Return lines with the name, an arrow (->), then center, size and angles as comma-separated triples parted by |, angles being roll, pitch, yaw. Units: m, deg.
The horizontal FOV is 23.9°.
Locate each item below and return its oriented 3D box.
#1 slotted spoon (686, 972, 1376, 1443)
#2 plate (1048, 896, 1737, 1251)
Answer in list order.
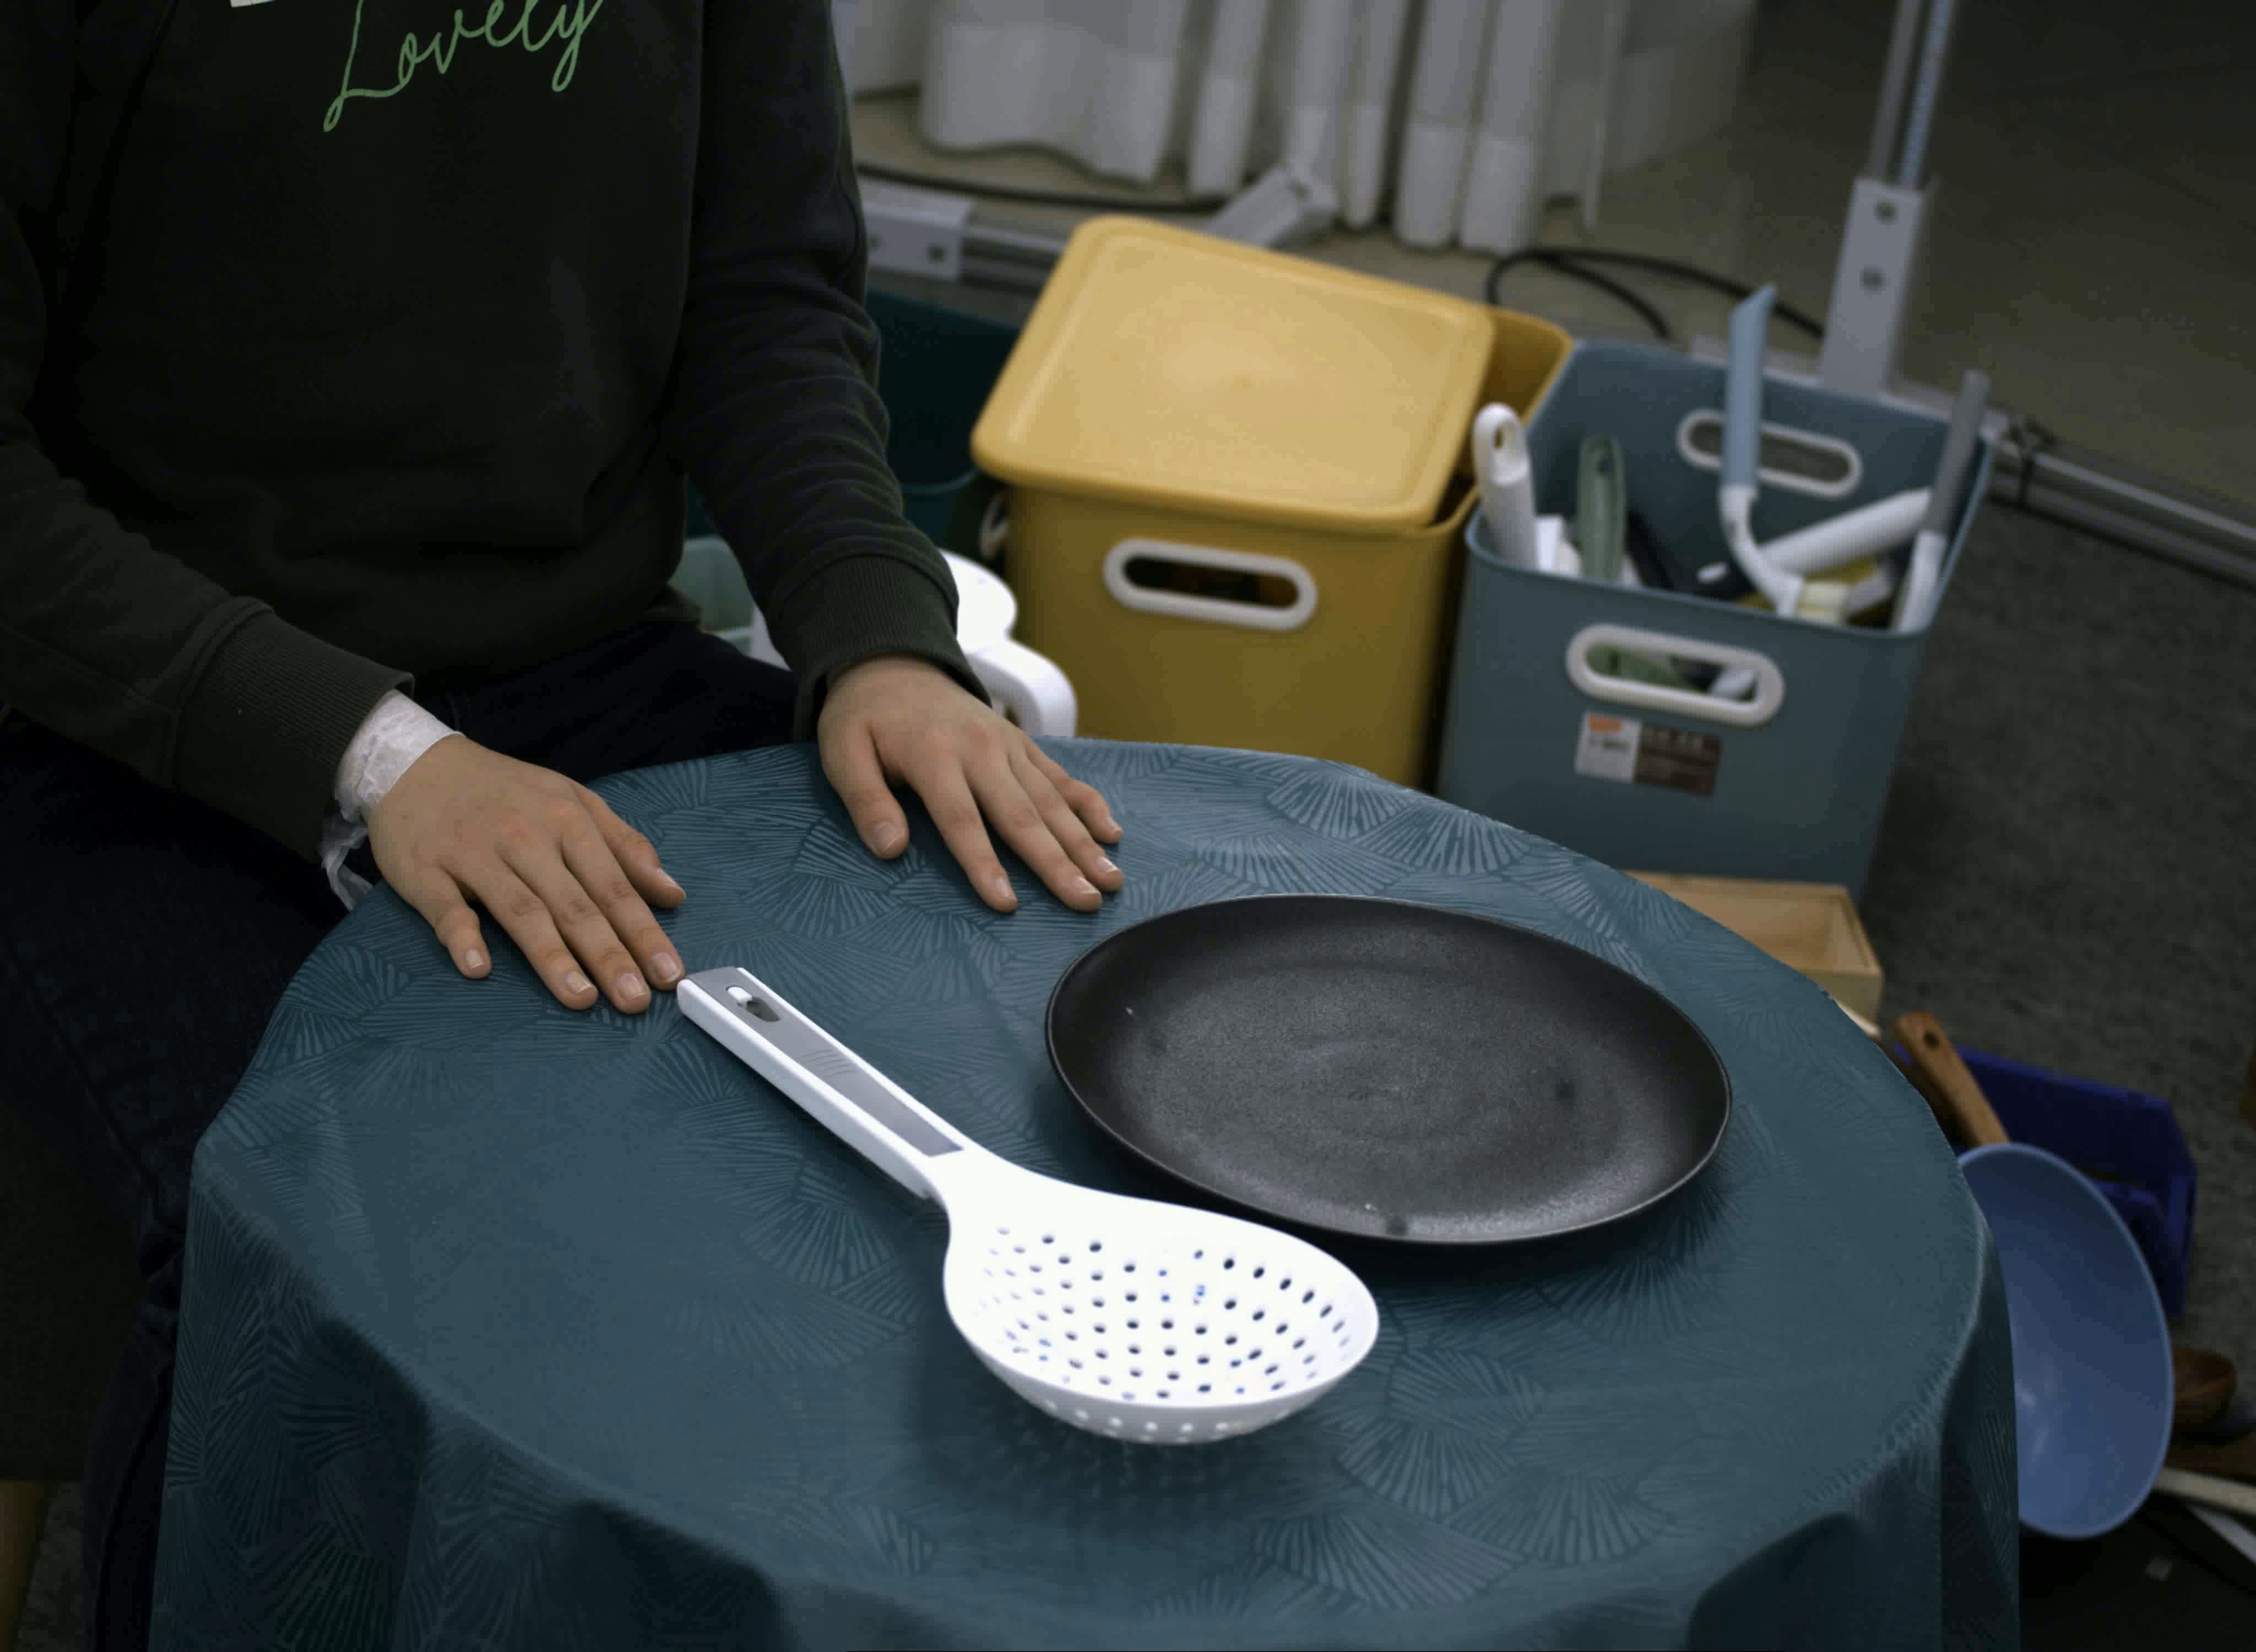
slotted spoon -> -0.051, 0.119, 1.748 | 0.135, 0.045, 0.353 | -9, 30, -33
plate -> 0.091, 0.090, 1.861 | 0.243, 0.023, 0.246 | 5, 27, -3
